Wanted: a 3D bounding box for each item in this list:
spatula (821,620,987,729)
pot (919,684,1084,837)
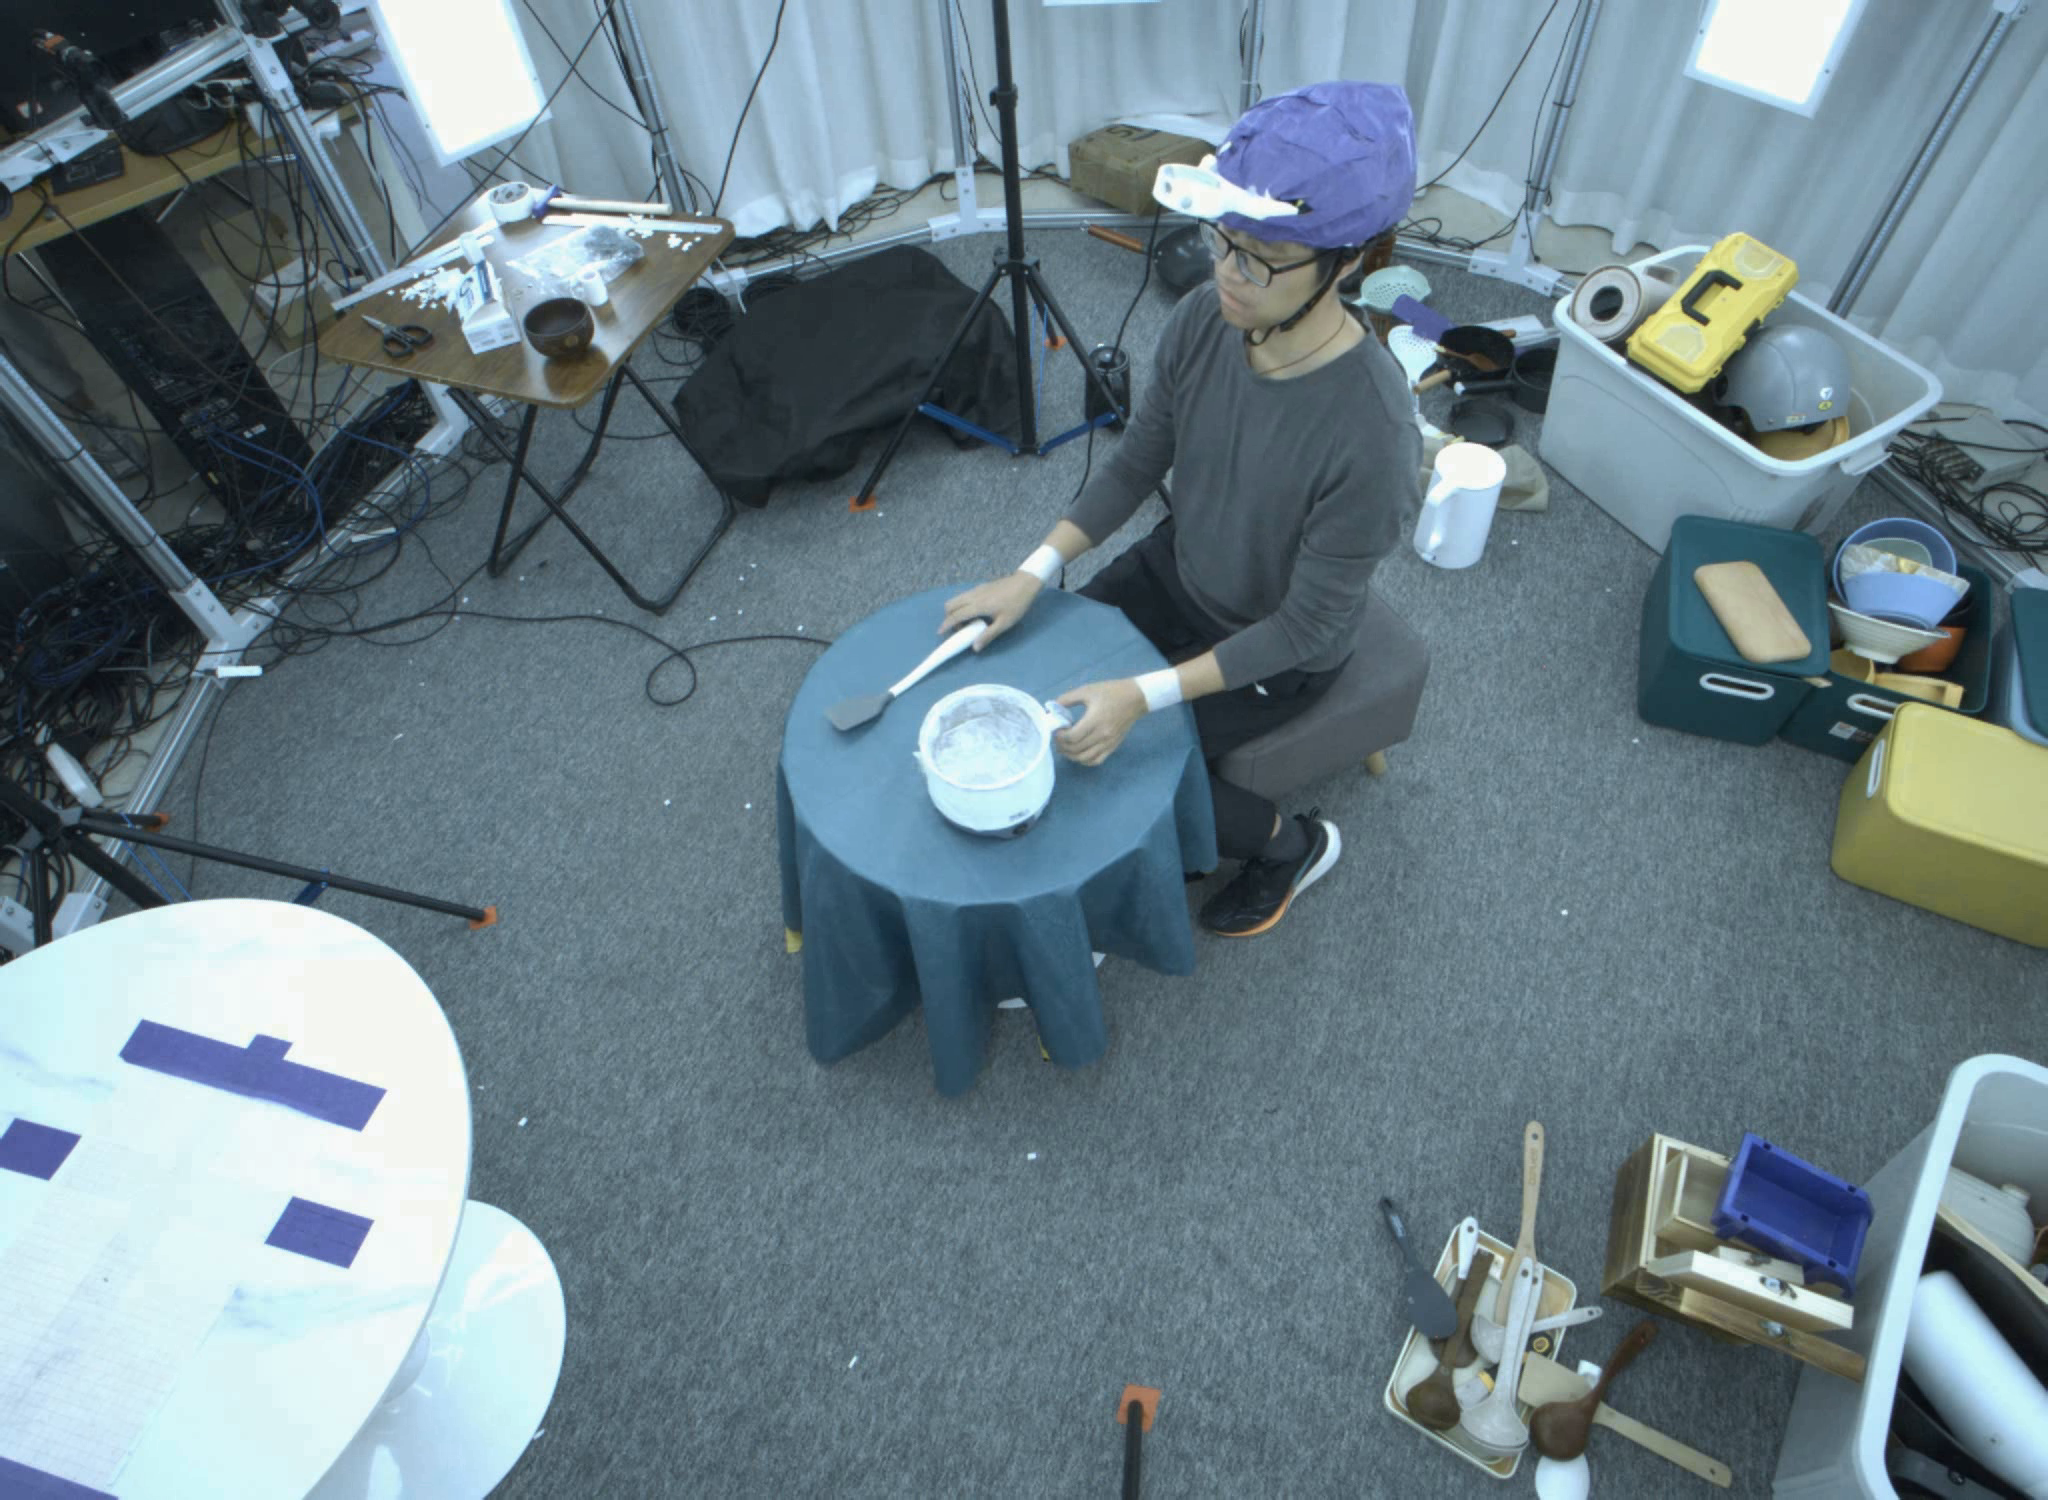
[{"bbox_3d":[-0.177,-0.114,1.861,0.290,0.032,0.057,-34,63,-22],"label":"spatula"},{"bbox_3d":[-0.024,0.005,1.707,0.235,0.138,0.175,-25,58,-15],"label":"pot"}]
